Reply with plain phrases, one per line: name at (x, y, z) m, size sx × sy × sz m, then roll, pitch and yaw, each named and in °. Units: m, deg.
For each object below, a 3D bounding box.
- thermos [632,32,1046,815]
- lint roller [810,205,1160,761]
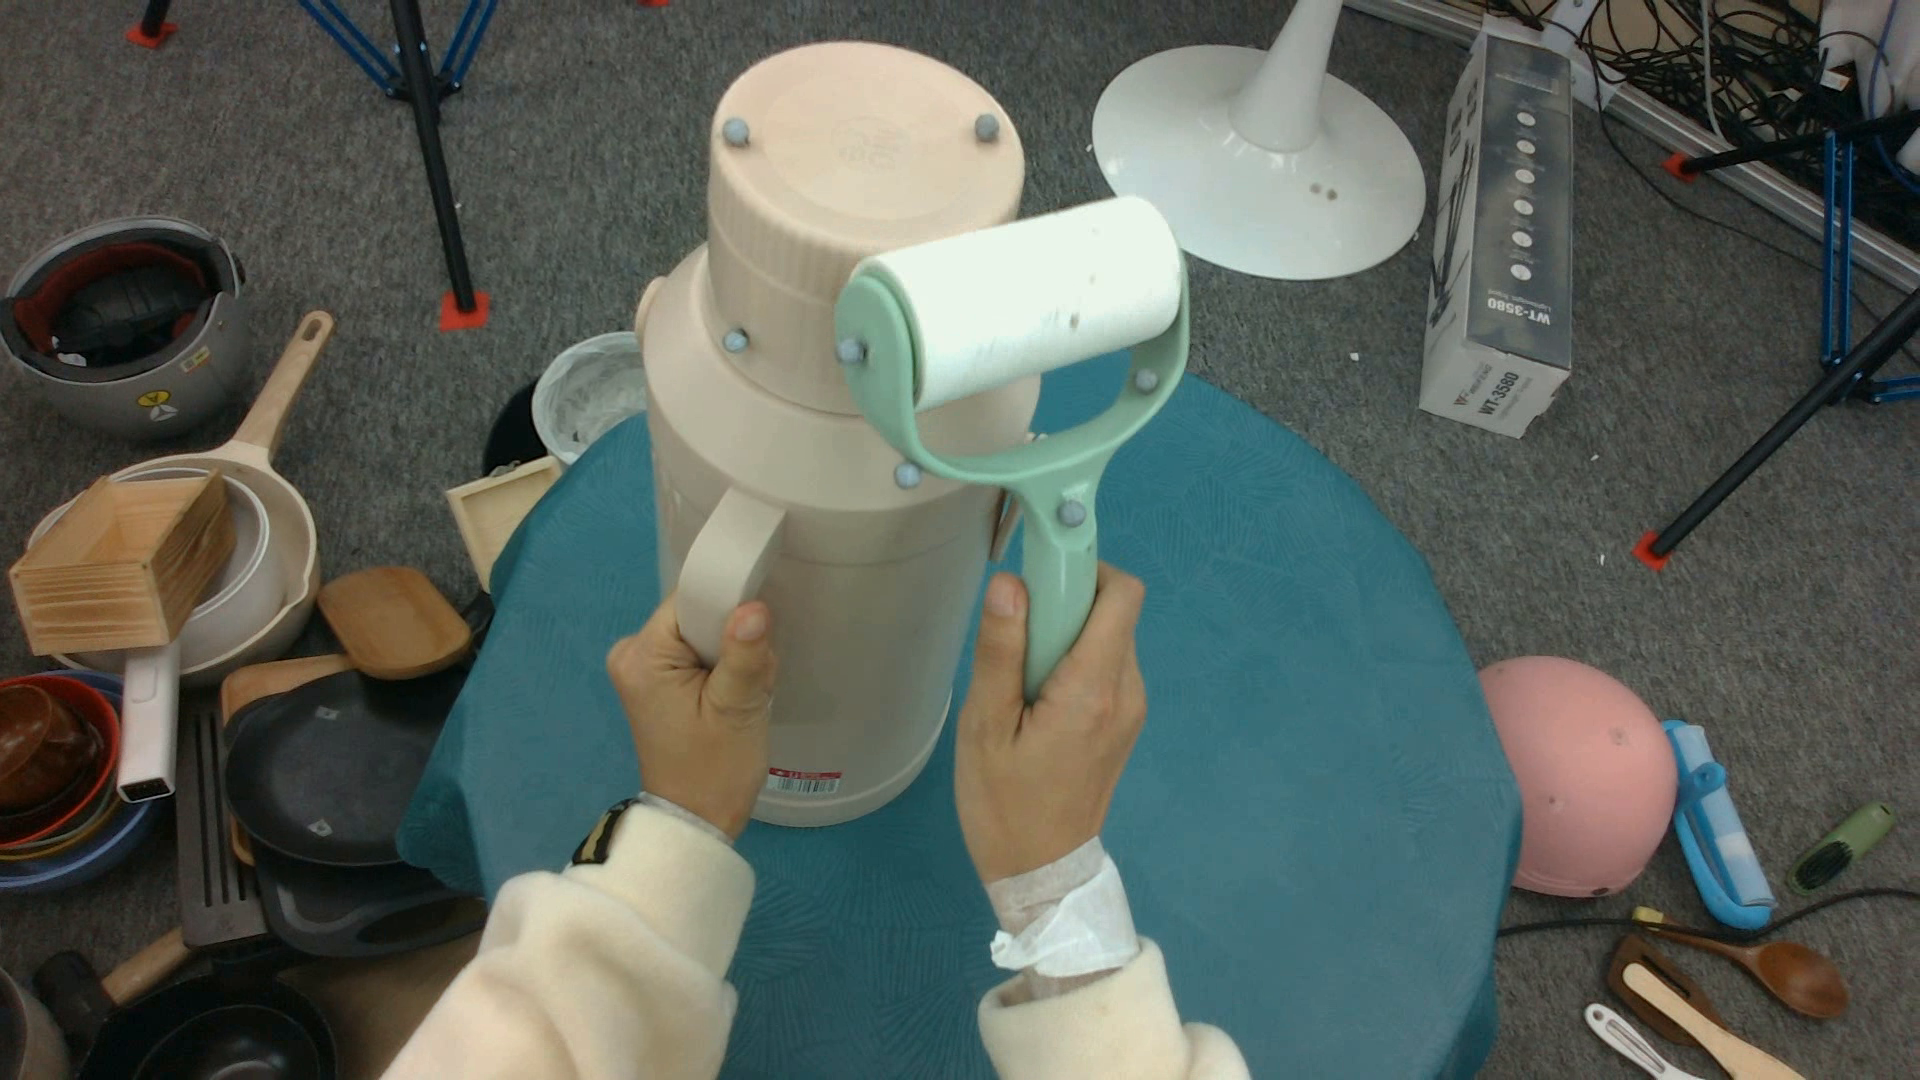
thermos at (-0.067, -0.016, 0.613) m, size 0.175 × 0.404 × 0.208 m, roll 23°, pitch 55°, yaw 5°
lint roller at (0.018, -0.005, 0.465) m, size 0.117 × 0.197 × 0.048 m, roll -21°, pitch 25°, yaw -32°
